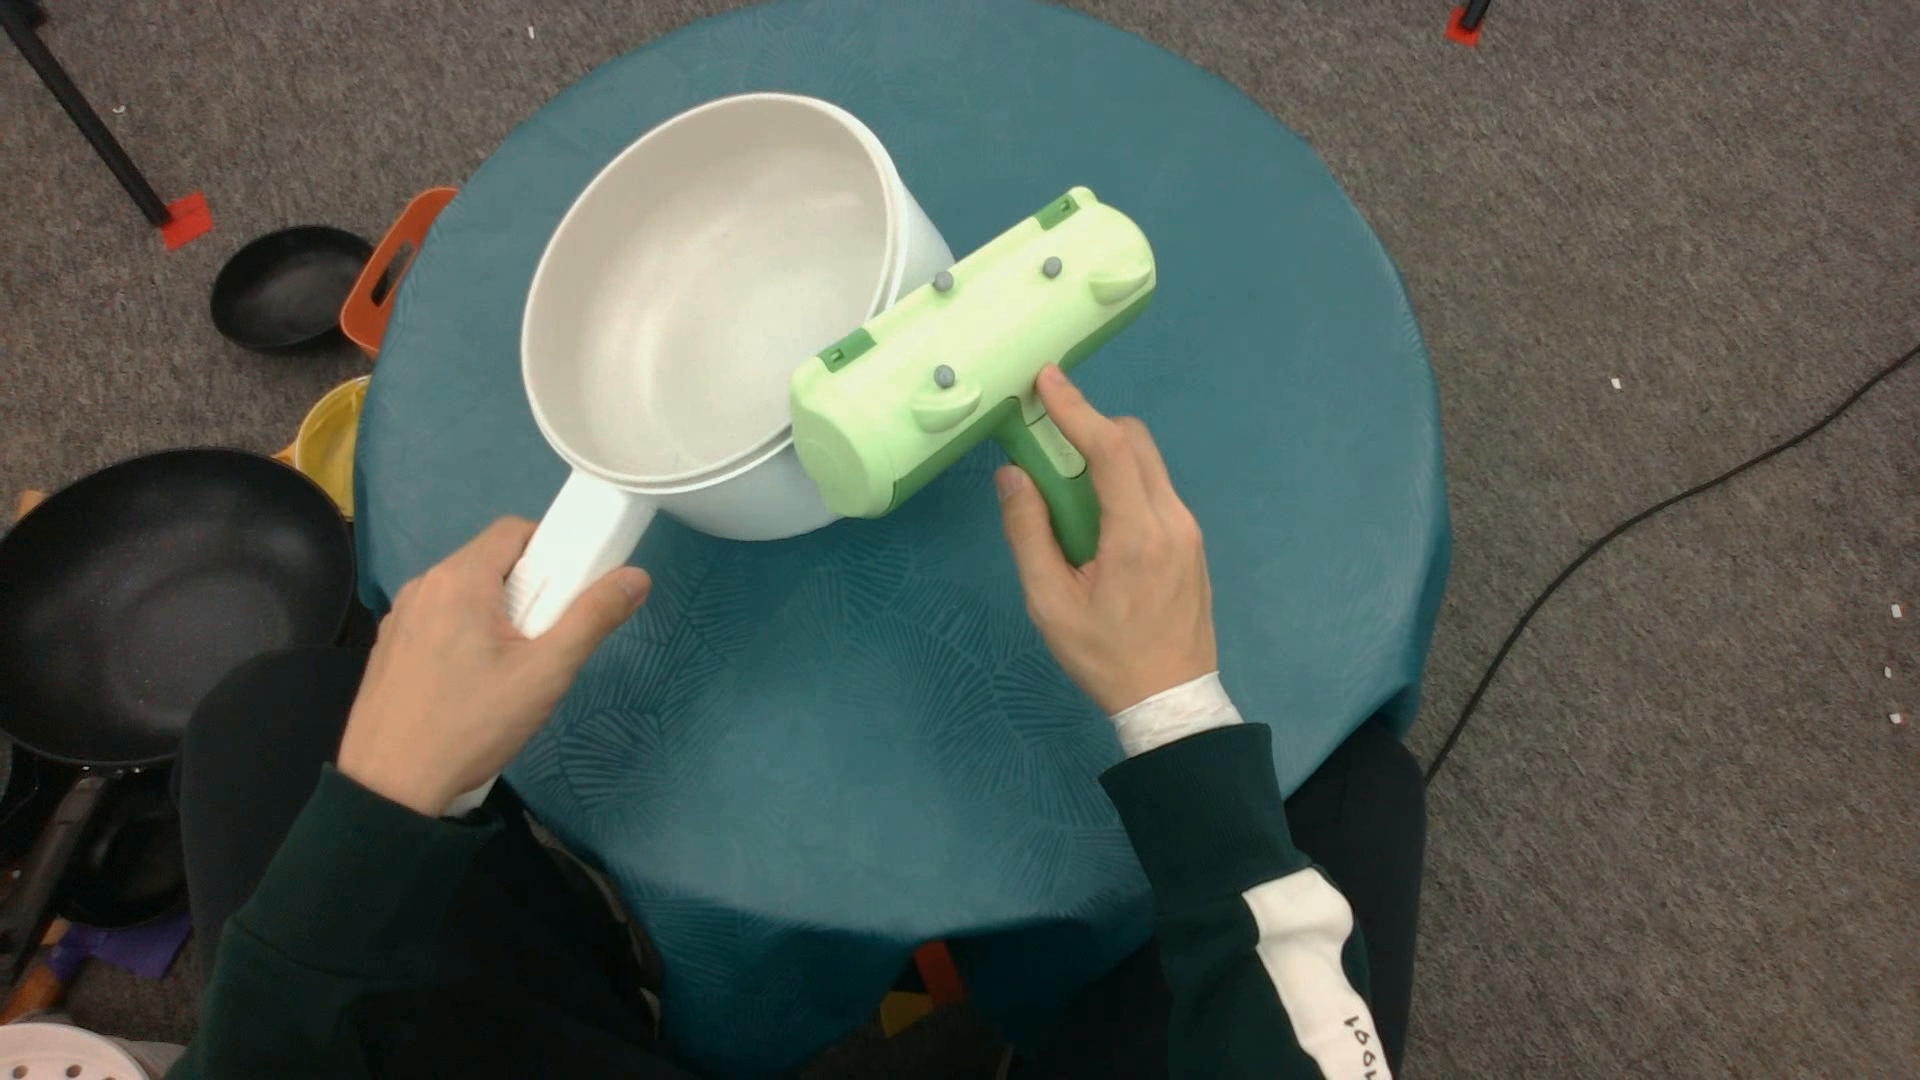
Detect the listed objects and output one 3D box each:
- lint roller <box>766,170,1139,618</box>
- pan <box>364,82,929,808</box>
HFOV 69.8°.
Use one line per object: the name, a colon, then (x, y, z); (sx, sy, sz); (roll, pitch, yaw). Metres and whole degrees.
lint roller: (0.037, -0.048, 0.587); (0.199, 0.082, 0.183); (-42, 98, -36)
pan: (-0.145, -0.037, 0.647); (0.201, 0.102, 0.355); (23, 82, 30)
